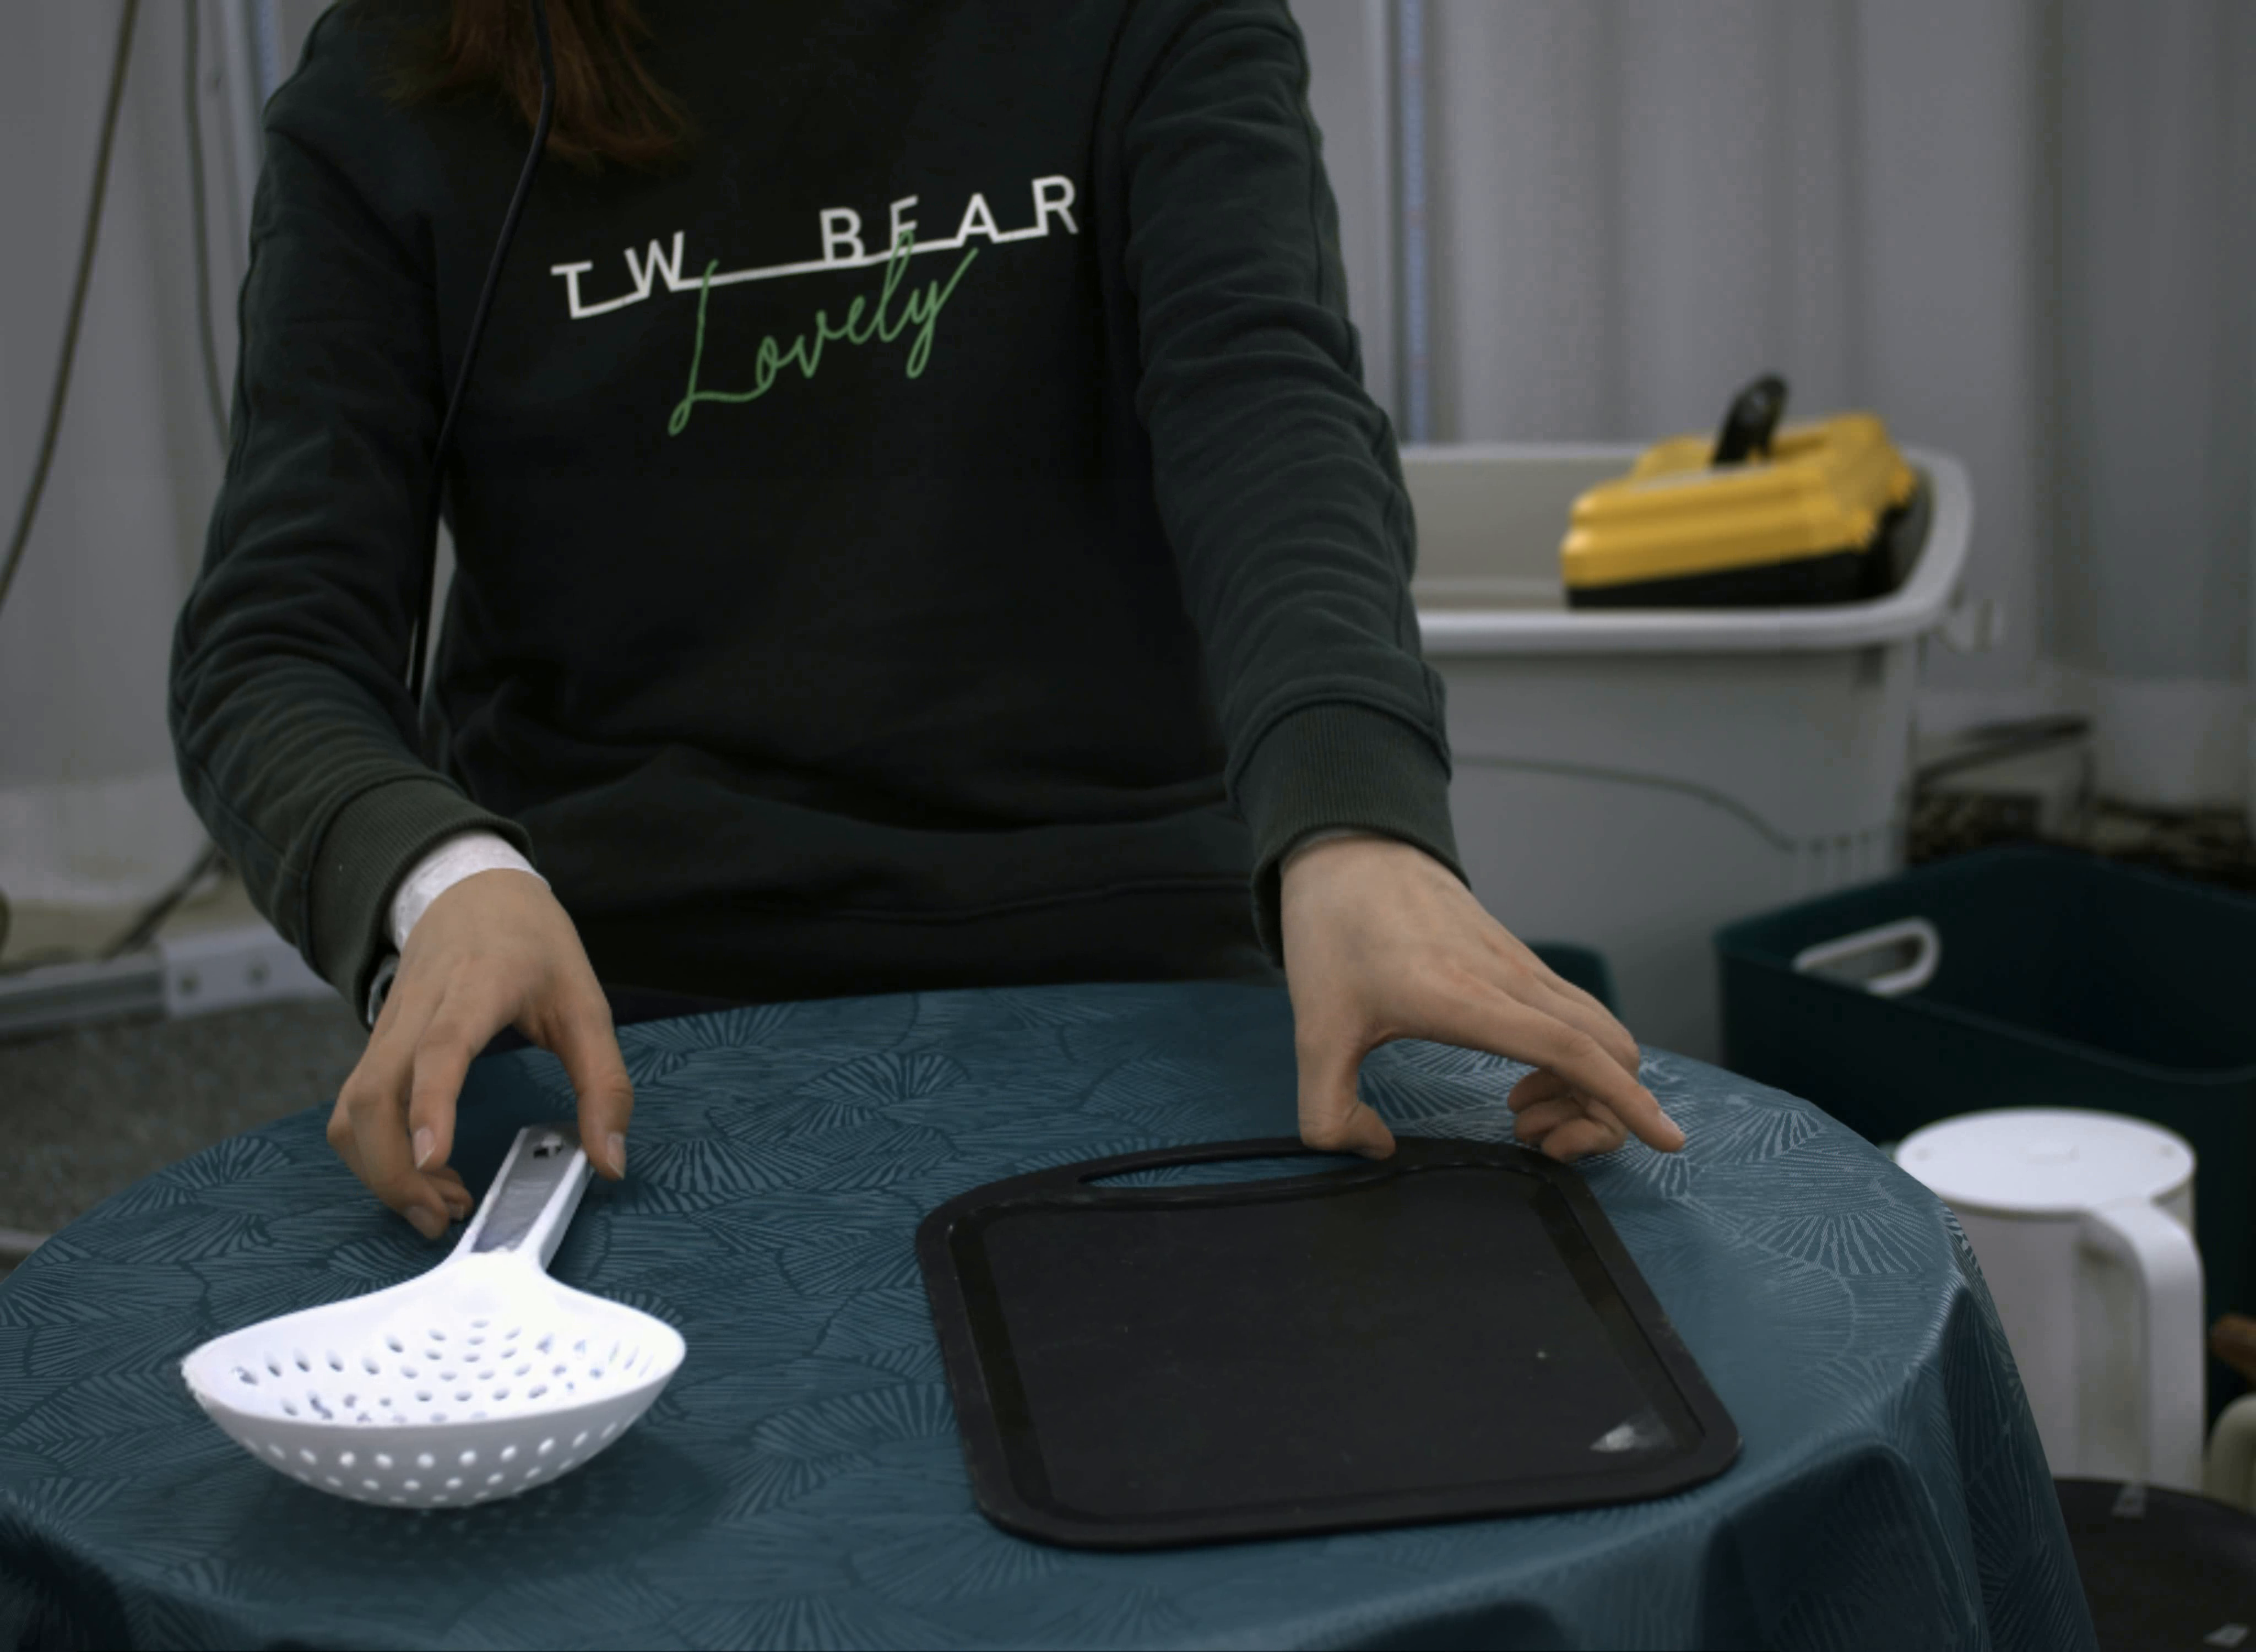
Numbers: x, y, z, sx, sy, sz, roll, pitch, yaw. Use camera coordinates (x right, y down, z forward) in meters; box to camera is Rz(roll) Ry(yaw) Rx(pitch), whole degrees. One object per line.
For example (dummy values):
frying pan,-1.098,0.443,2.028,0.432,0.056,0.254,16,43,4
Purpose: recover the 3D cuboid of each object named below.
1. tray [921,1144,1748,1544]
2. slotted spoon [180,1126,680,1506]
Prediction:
tray,0.050,0.143,1.587,0.210,0.010,0.328,-4,14,-5
slotted spoon,-0.186,0.133,1.593,0.135,0.045,0.352,0,14,1
